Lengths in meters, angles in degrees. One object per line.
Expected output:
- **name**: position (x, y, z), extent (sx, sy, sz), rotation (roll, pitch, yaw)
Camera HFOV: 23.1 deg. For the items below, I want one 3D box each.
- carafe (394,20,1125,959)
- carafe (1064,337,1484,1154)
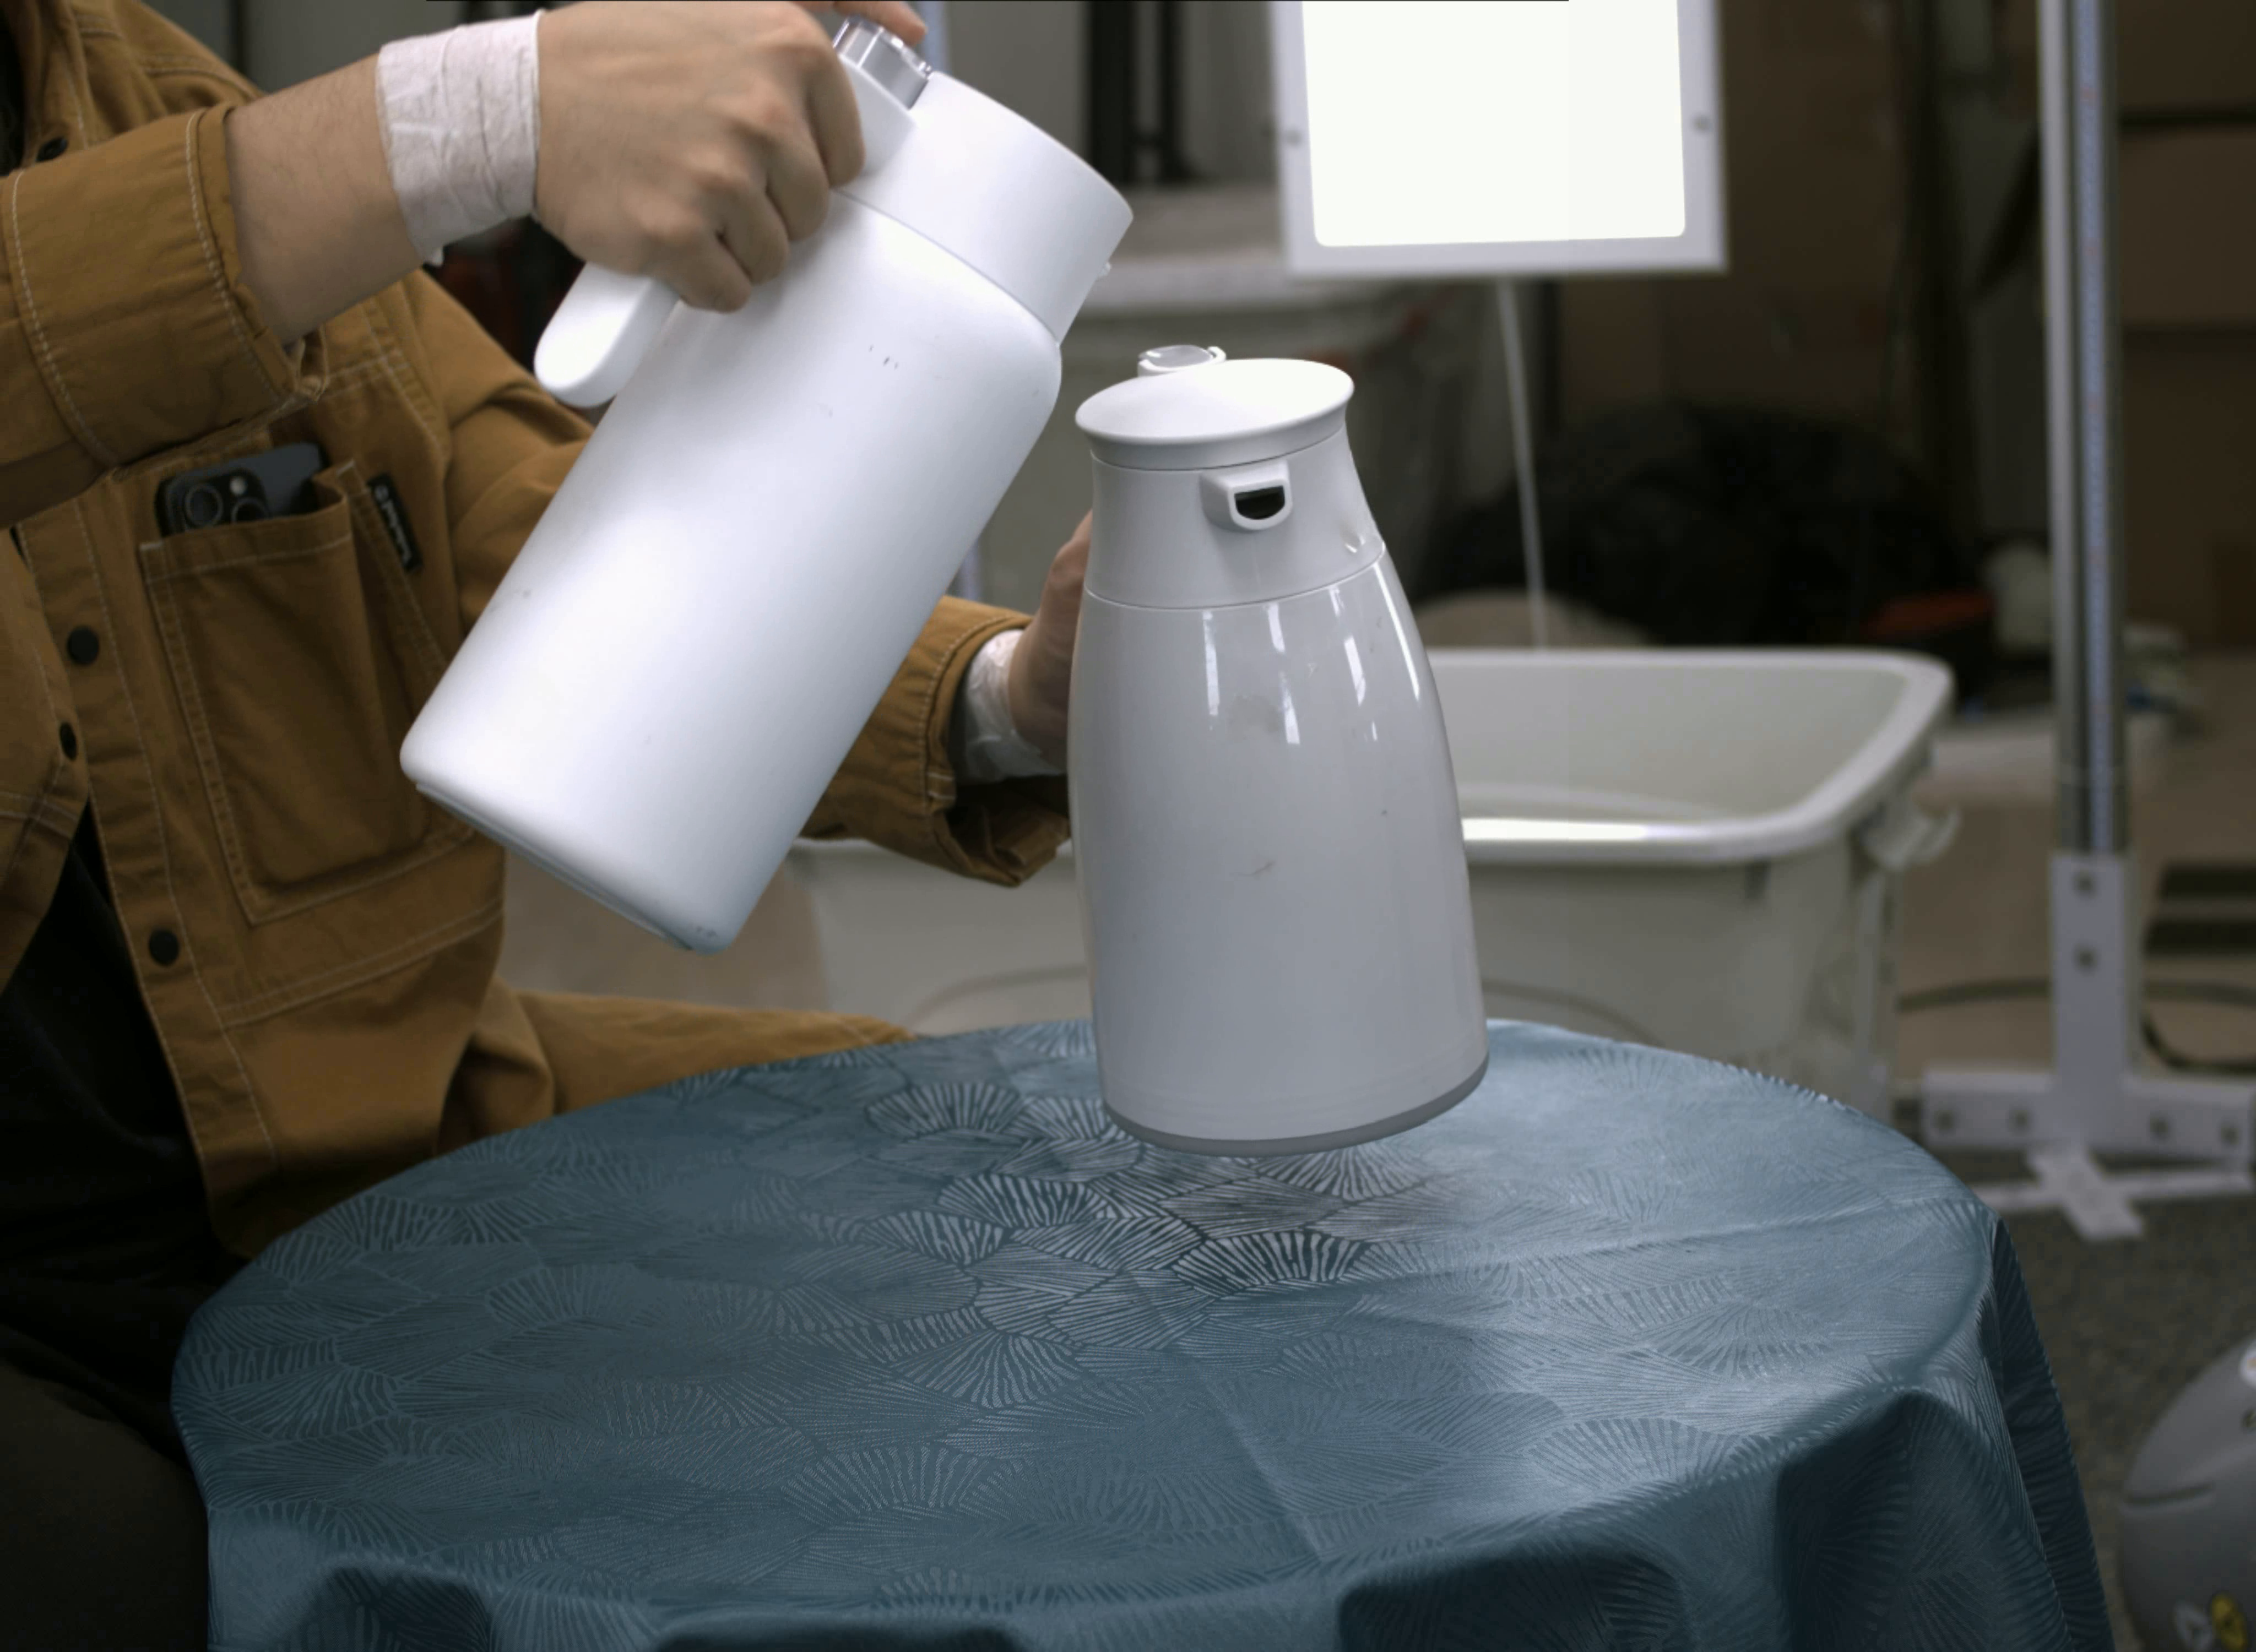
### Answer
- **carafe**: position (-0.117, -0.106, 1.669), extent (0.126, 0.269, 0.170), rotation (30, -3, 43)
- **carafe**: position (0.036, -0.036, 1.833), extent (0.131, 0.249, 0.169), rotation (-11, 18, -8)
